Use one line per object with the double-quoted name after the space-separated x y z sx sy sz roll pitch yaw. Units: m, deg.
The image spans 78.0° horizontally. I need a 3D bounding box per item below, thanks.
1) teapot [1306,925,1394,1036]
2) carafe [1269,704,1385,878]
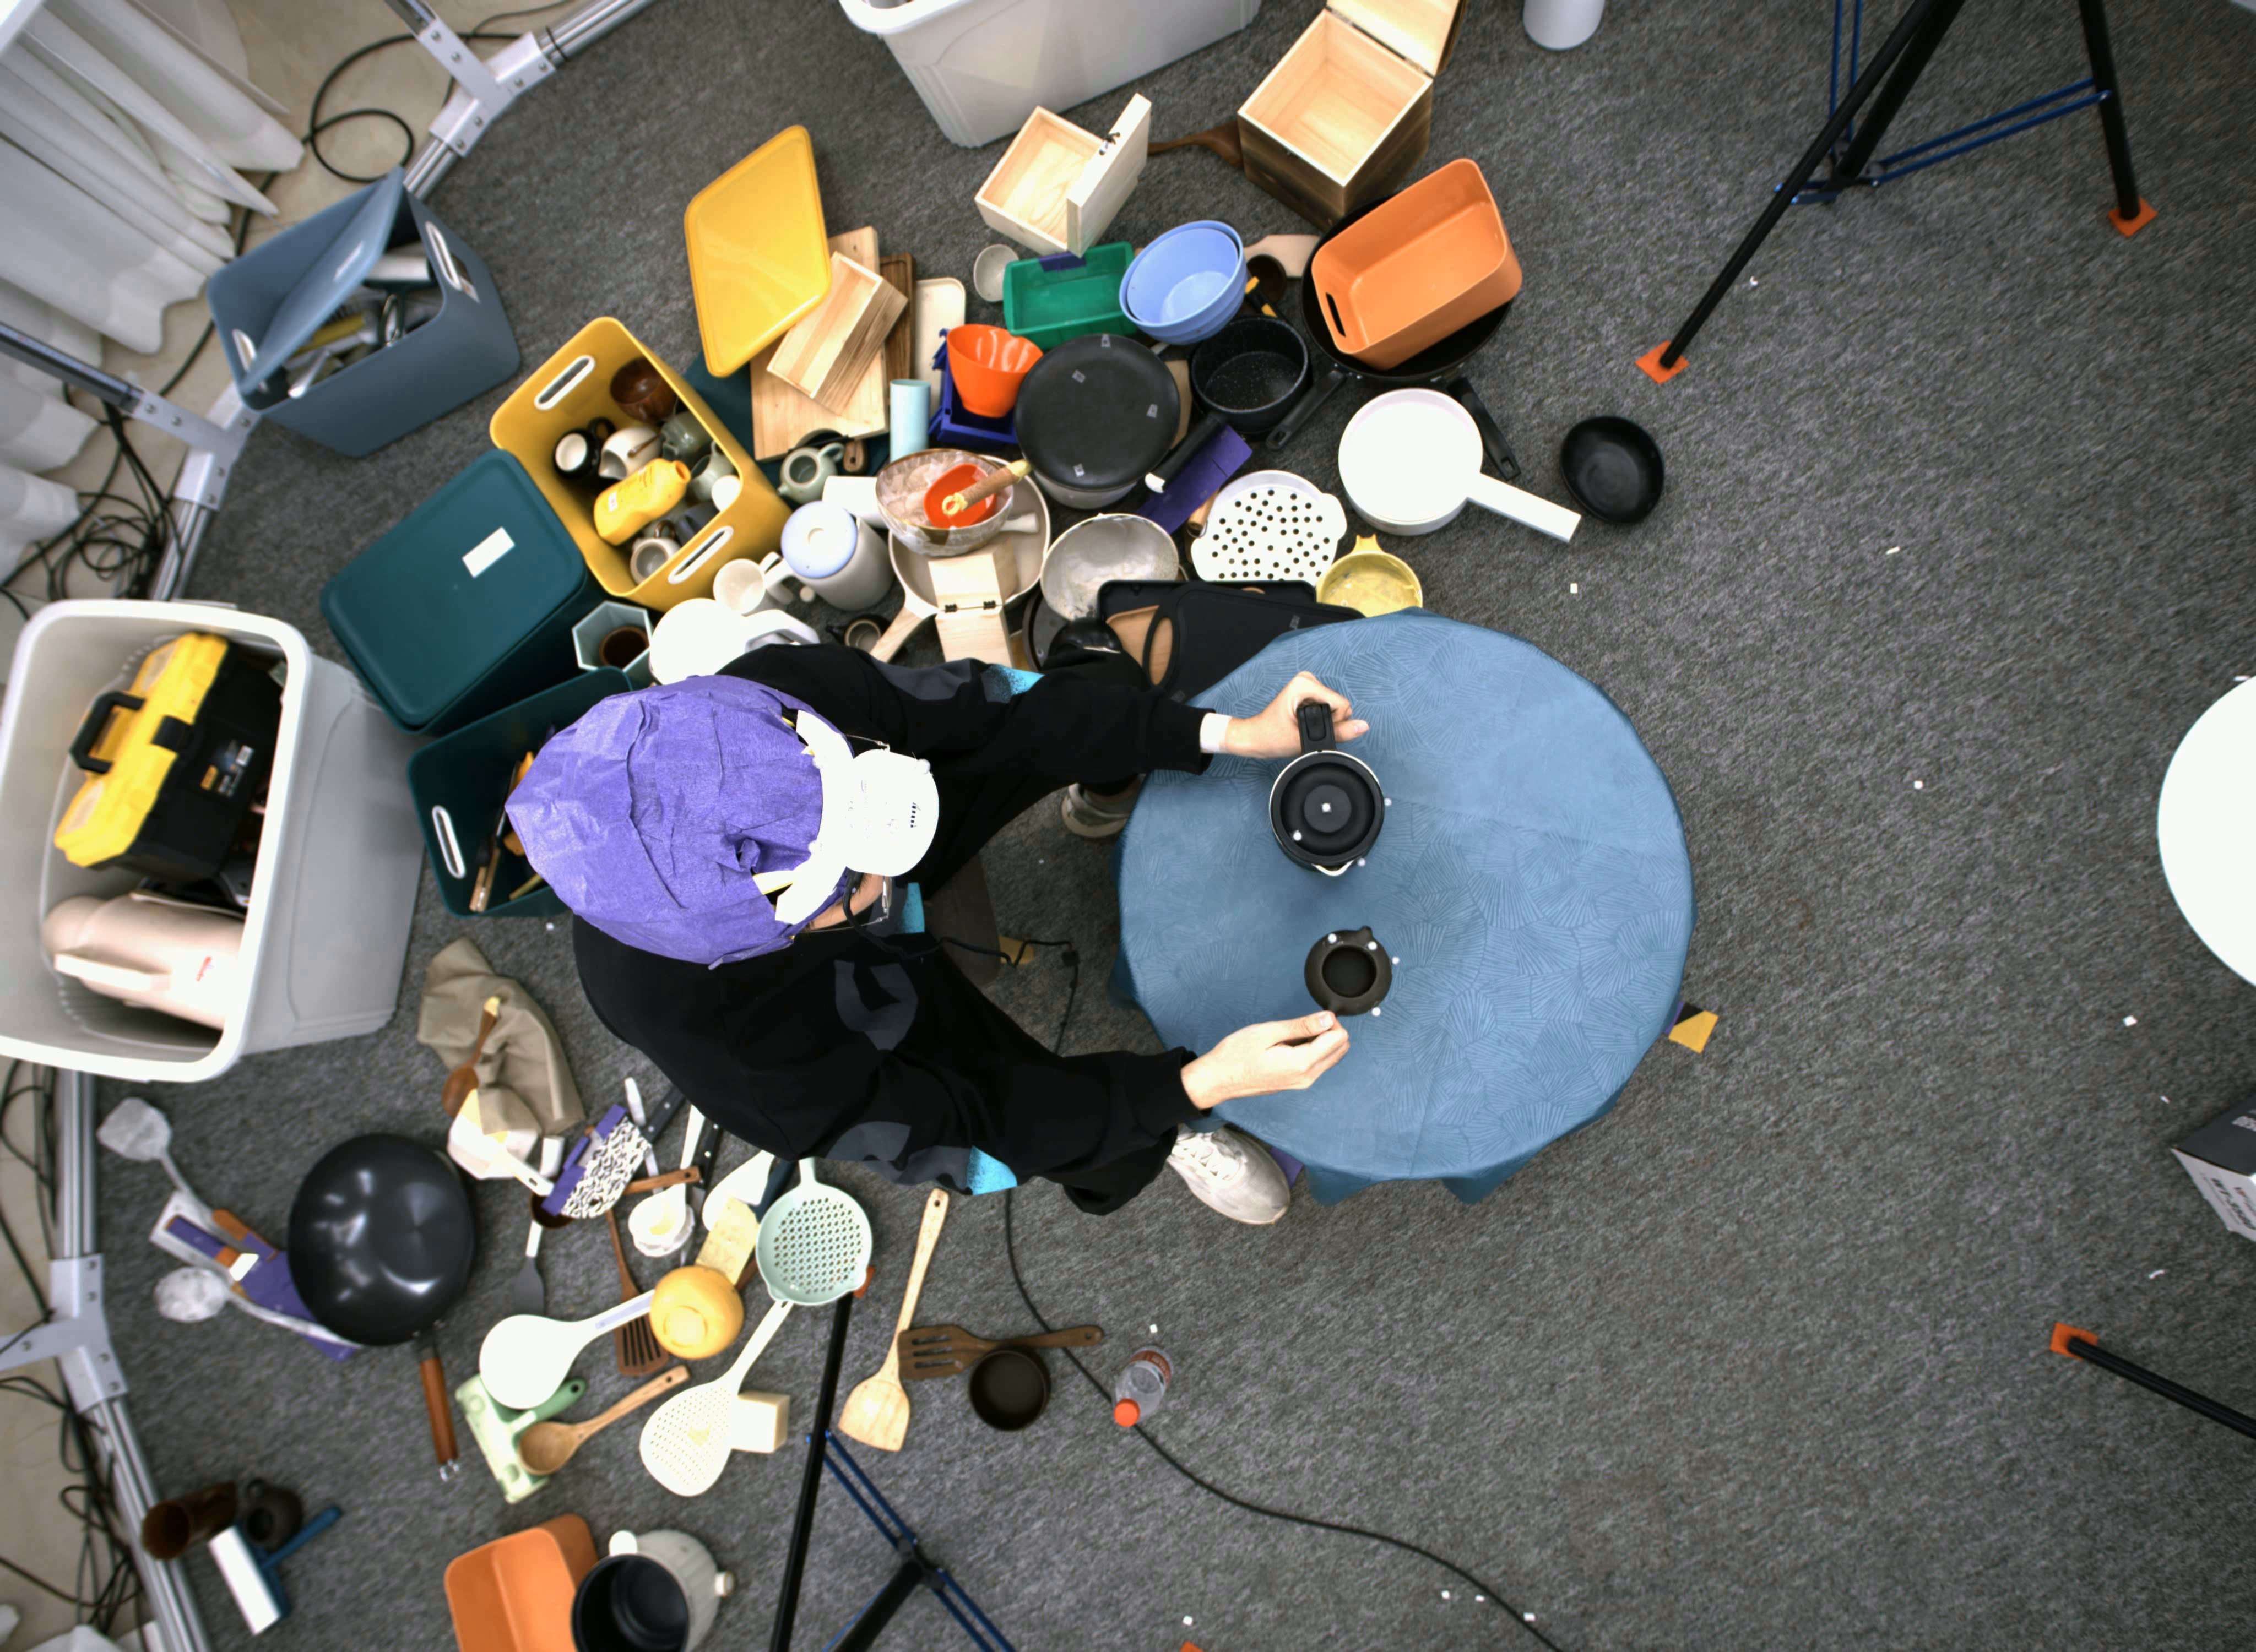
0.203 0.146 1.306 0.083 0.053 0.113 29 84 12 "teapot"
0.192 -0.035 1.359 0.115 0.173 0.171 -9 89 9 "carafe"
